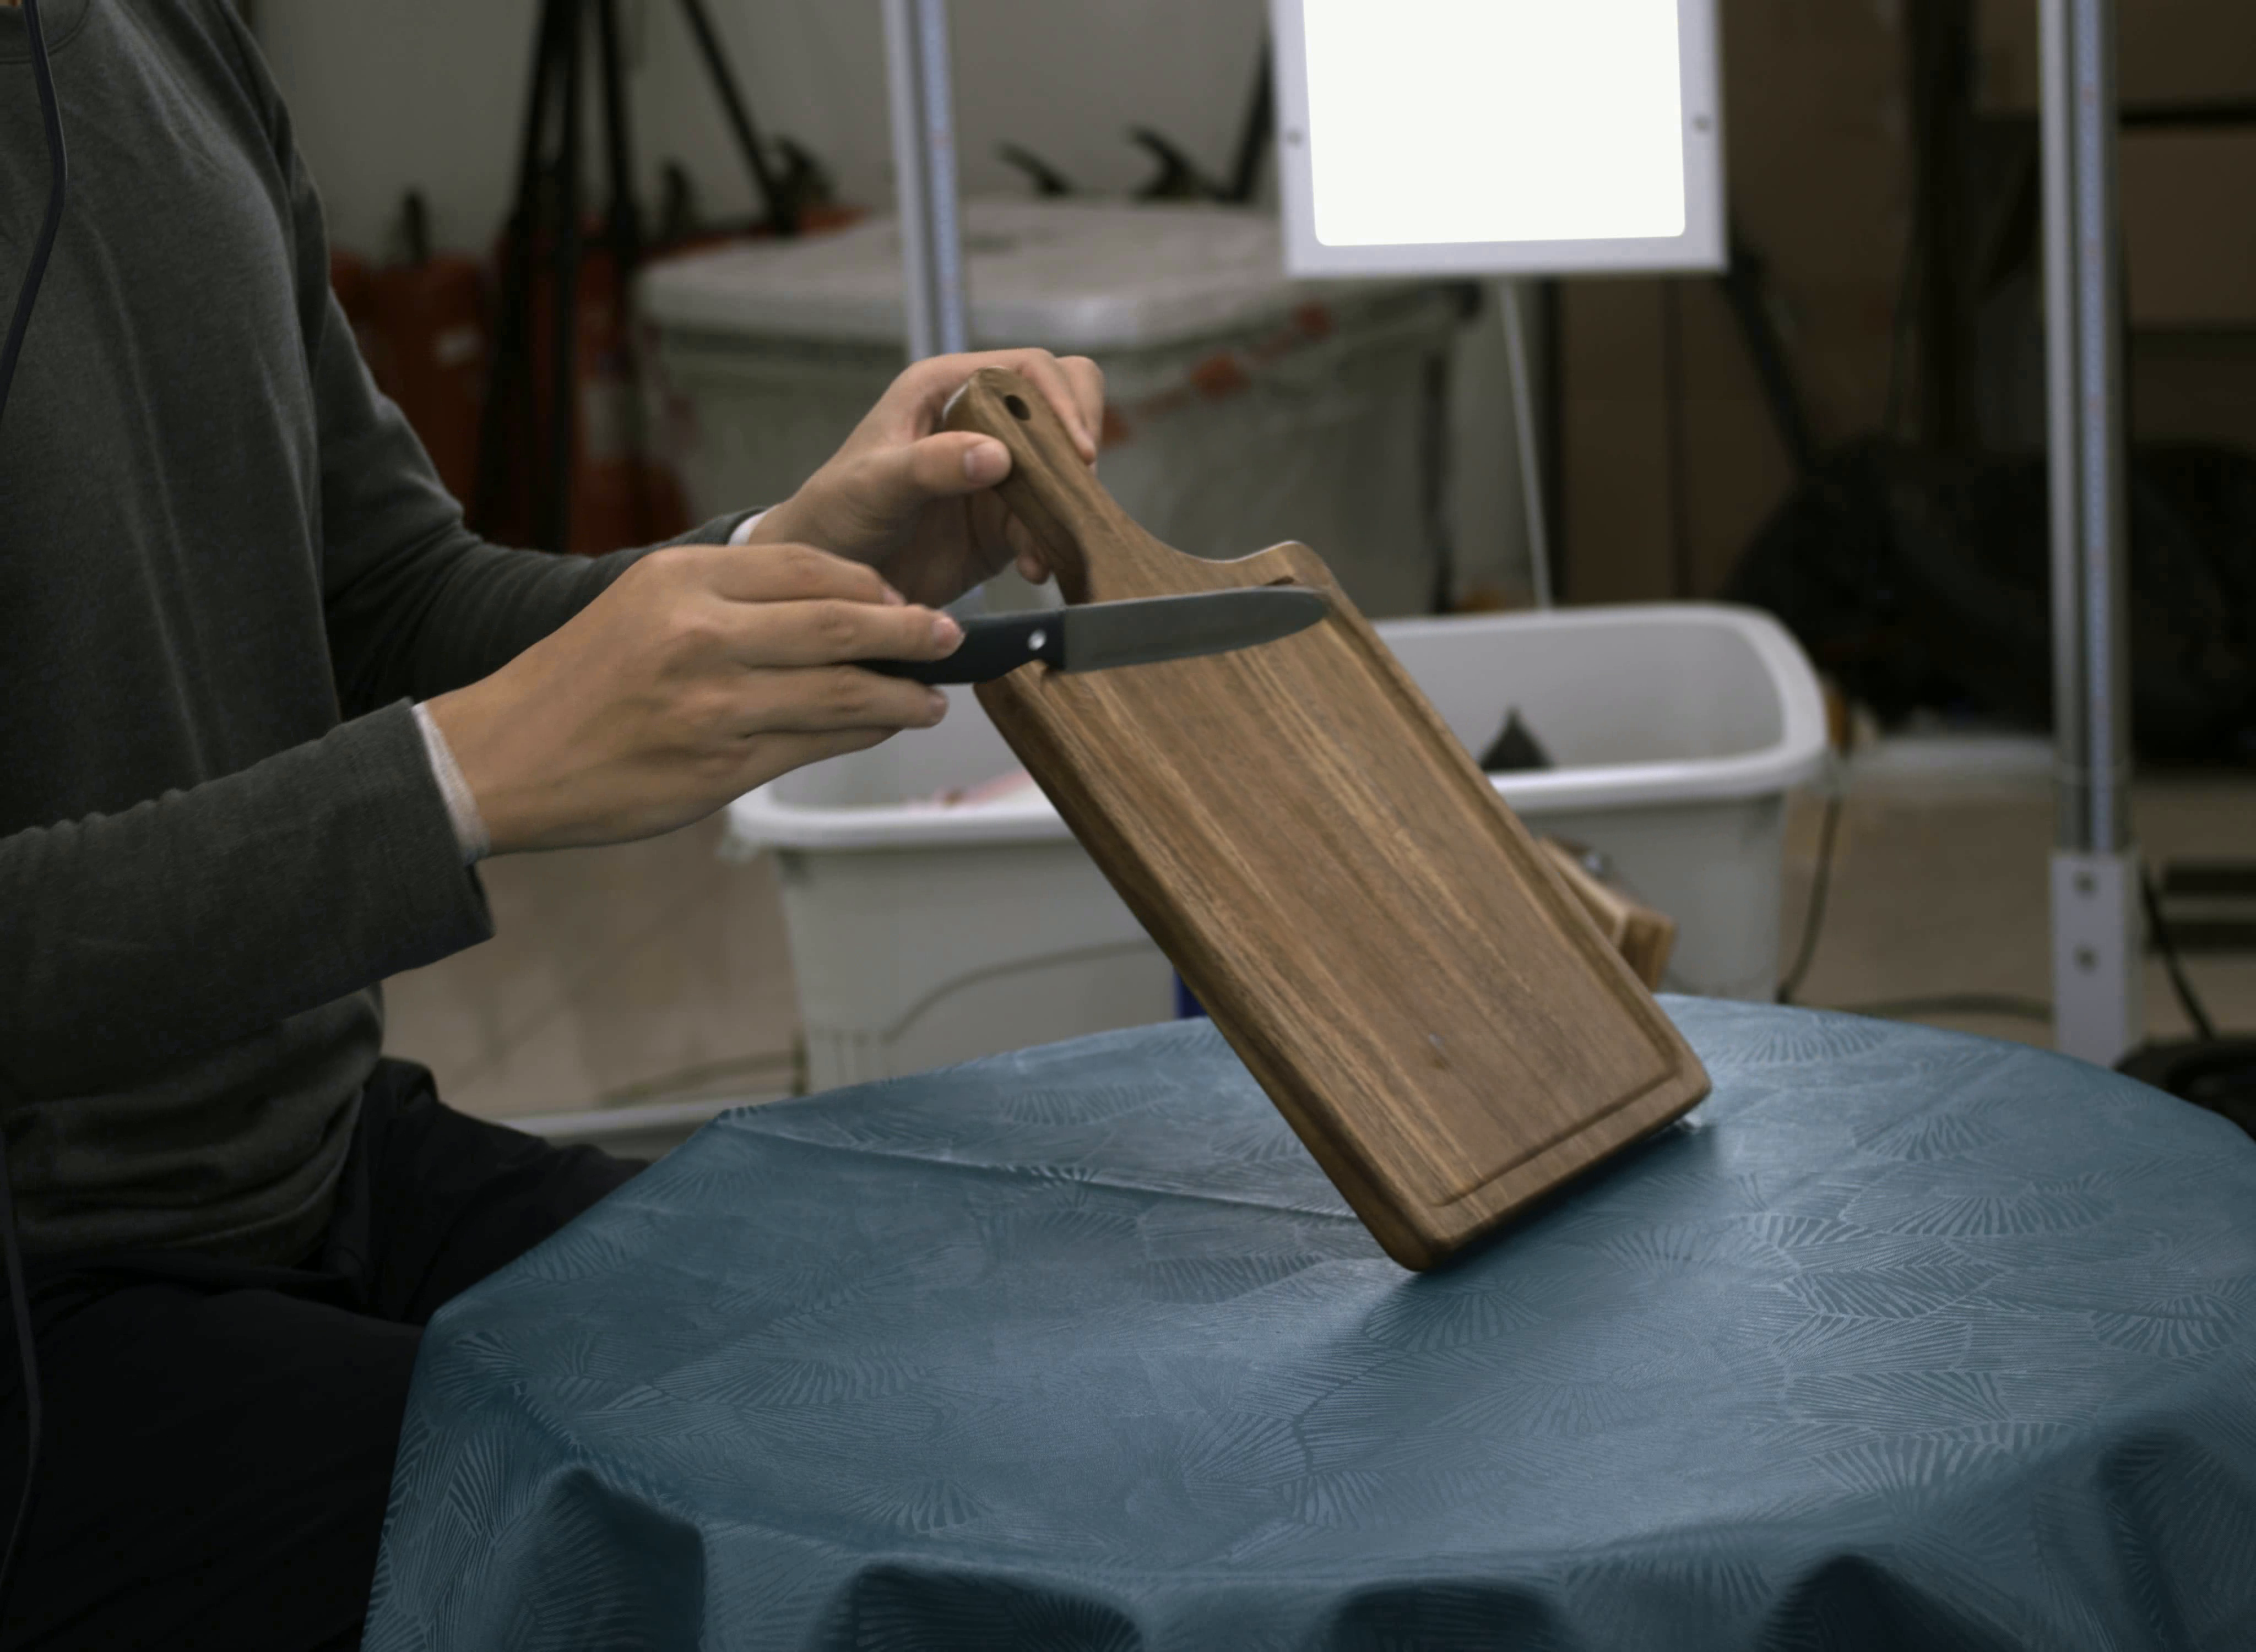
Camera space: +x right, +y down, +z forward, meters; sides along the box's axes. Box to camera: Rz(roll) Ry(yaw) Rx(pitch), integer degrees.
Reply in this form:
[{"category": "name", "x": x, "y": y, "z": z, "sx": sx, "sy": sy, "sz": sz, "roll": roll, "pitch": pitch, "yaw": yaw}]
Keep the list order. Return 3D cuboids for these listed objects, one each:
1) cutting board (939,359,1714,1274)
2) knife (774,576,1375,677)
[{"category": "cutting board", "x": 0.049, "y": -0.019, "z": 1.887, "sx": 0.196, "sy": 0.354, "sz": 0.023, "roll": -23, "pitch": -18, "yaw": -52}, {"category": "knife", "x": -0.013, "y": -0.068, "z": 1.791, "sx": 0.232, "sy": 0.024, "sz": 0.016, "roll": -7, "pitch": 8, "yaw": -33}]
